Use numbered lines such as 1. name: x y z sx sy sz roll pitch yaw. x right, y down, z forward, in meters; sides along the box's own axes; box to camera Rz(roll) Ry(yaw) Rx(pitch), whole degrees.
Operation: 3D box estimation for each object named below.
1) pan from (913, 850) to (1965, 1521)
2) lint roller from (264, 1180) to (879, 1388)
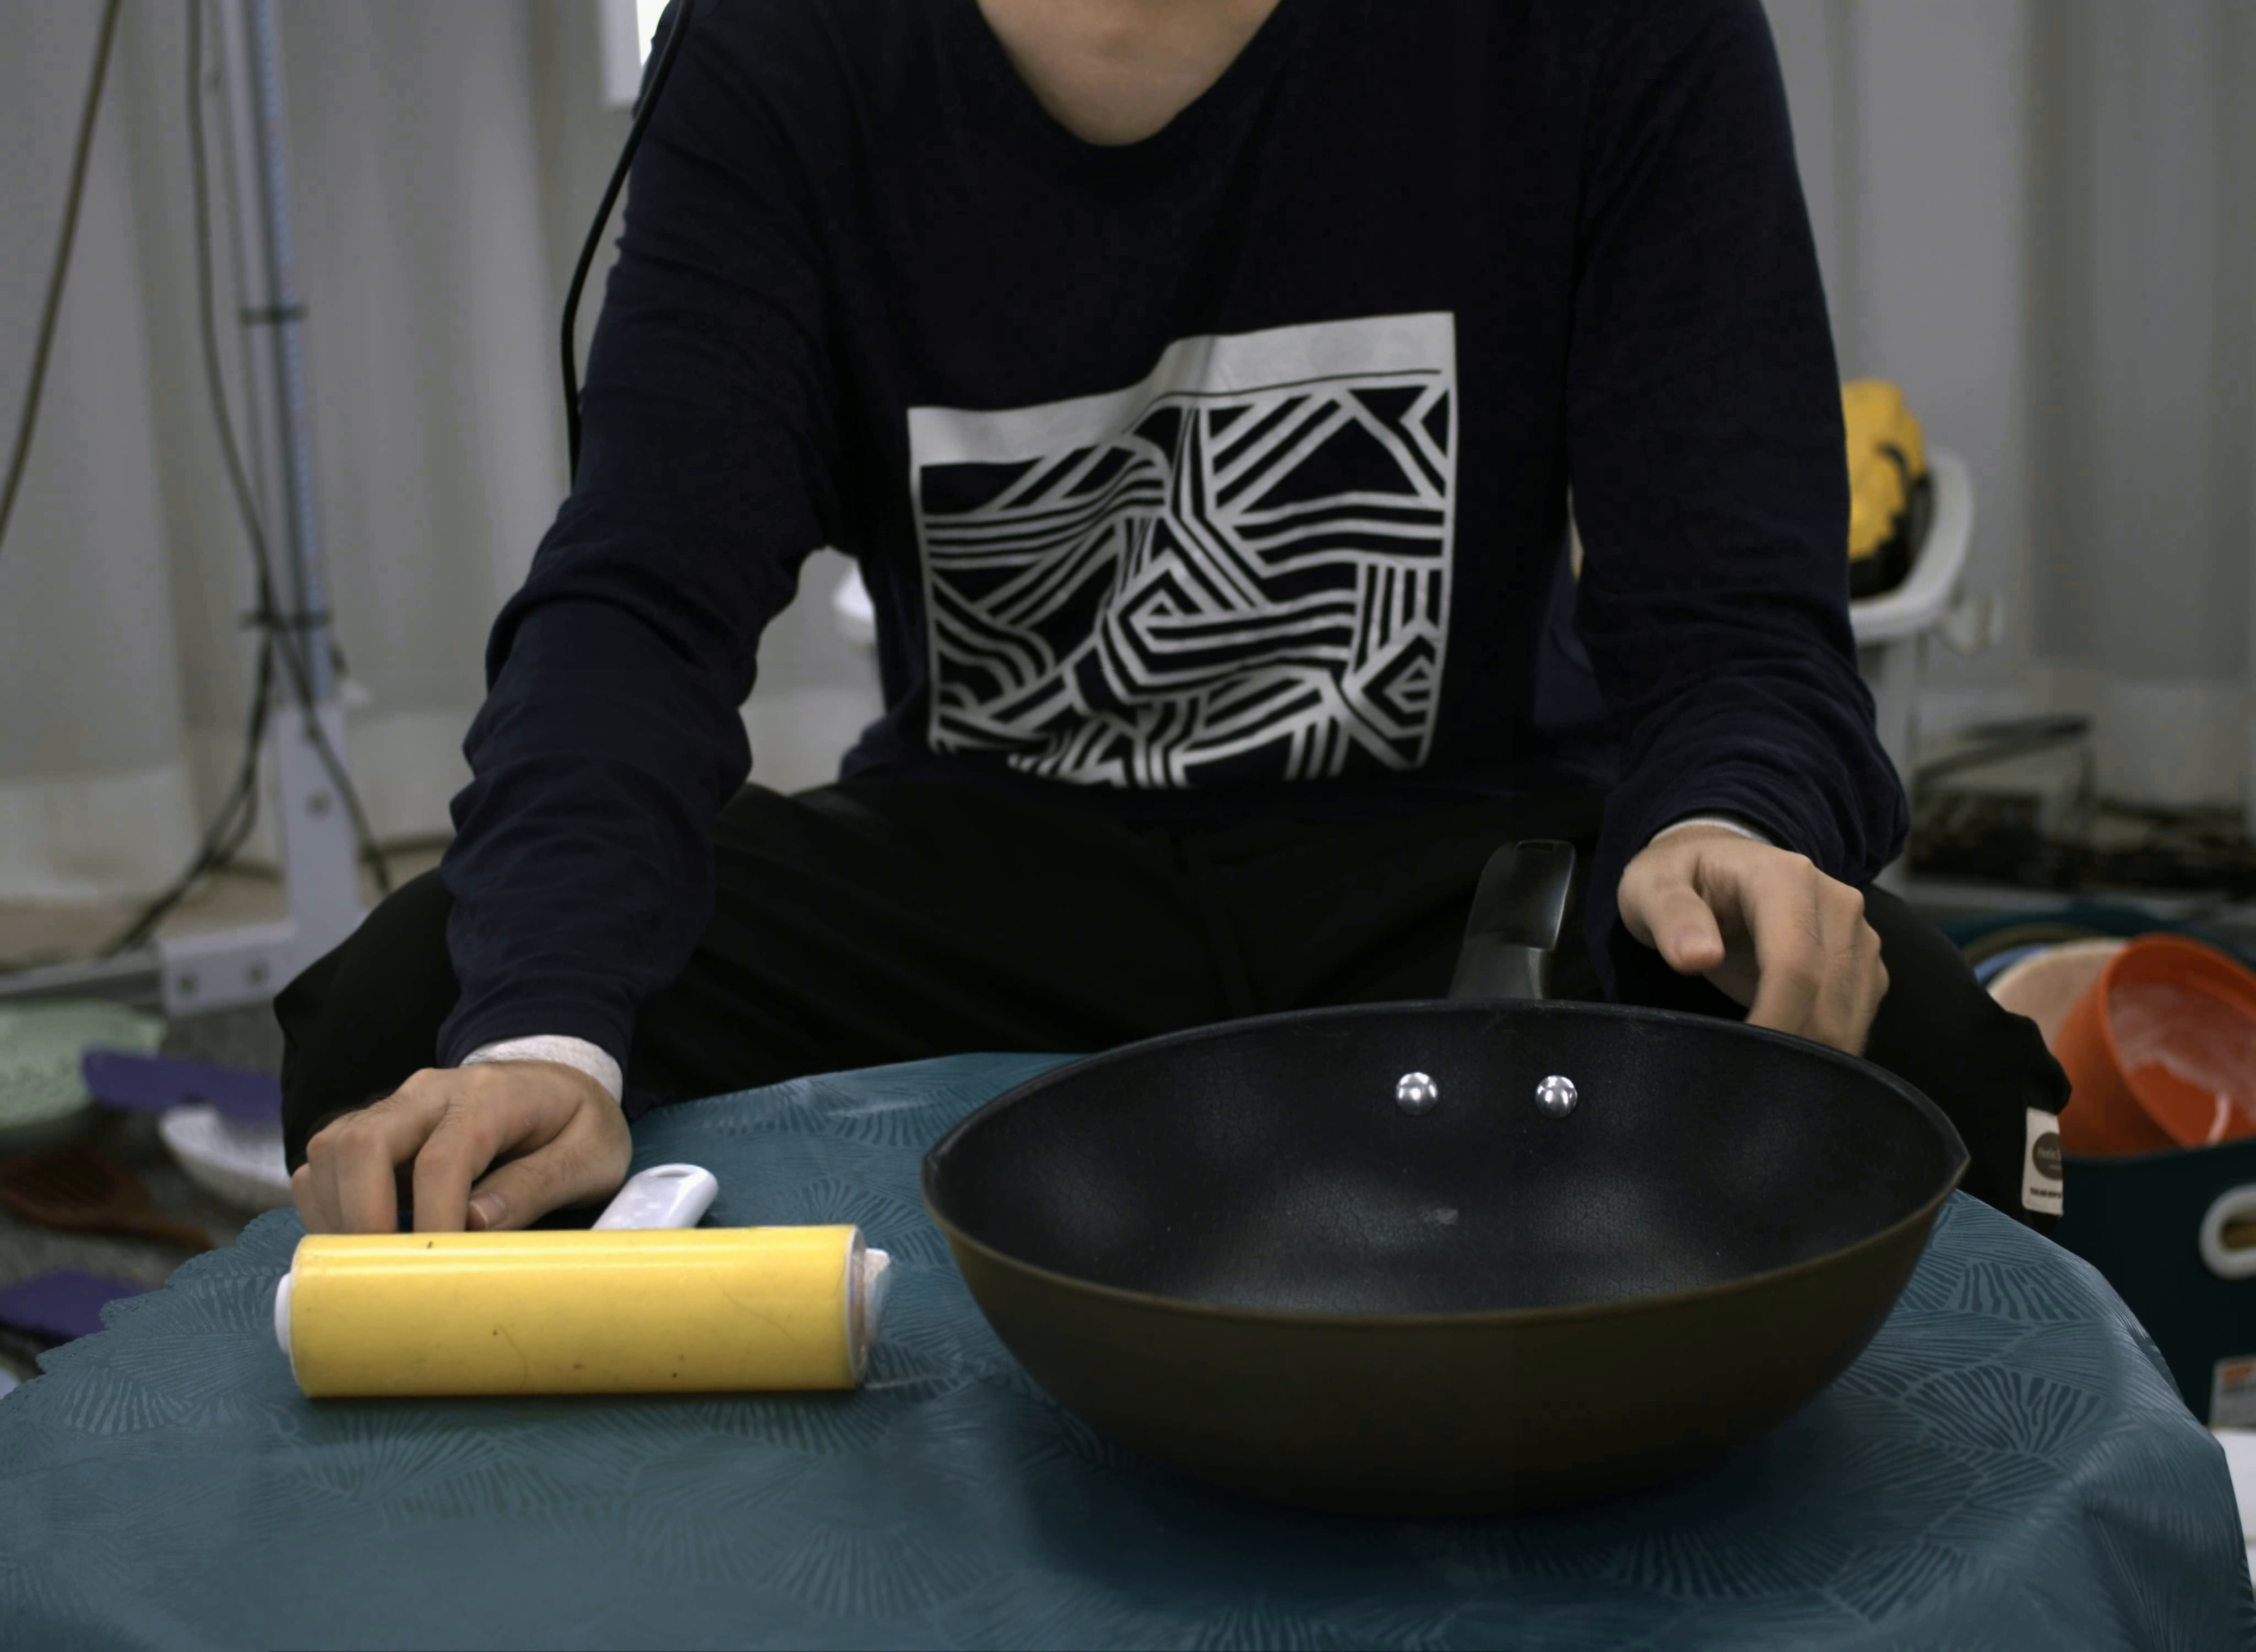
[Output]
1. pan: 0.098 0.102 1.589 0.287 0.086 0.466 0 15 9
2. lint roller: -0.154 0.121 1.633 0.174 0.051 0.193 -1 15 5
